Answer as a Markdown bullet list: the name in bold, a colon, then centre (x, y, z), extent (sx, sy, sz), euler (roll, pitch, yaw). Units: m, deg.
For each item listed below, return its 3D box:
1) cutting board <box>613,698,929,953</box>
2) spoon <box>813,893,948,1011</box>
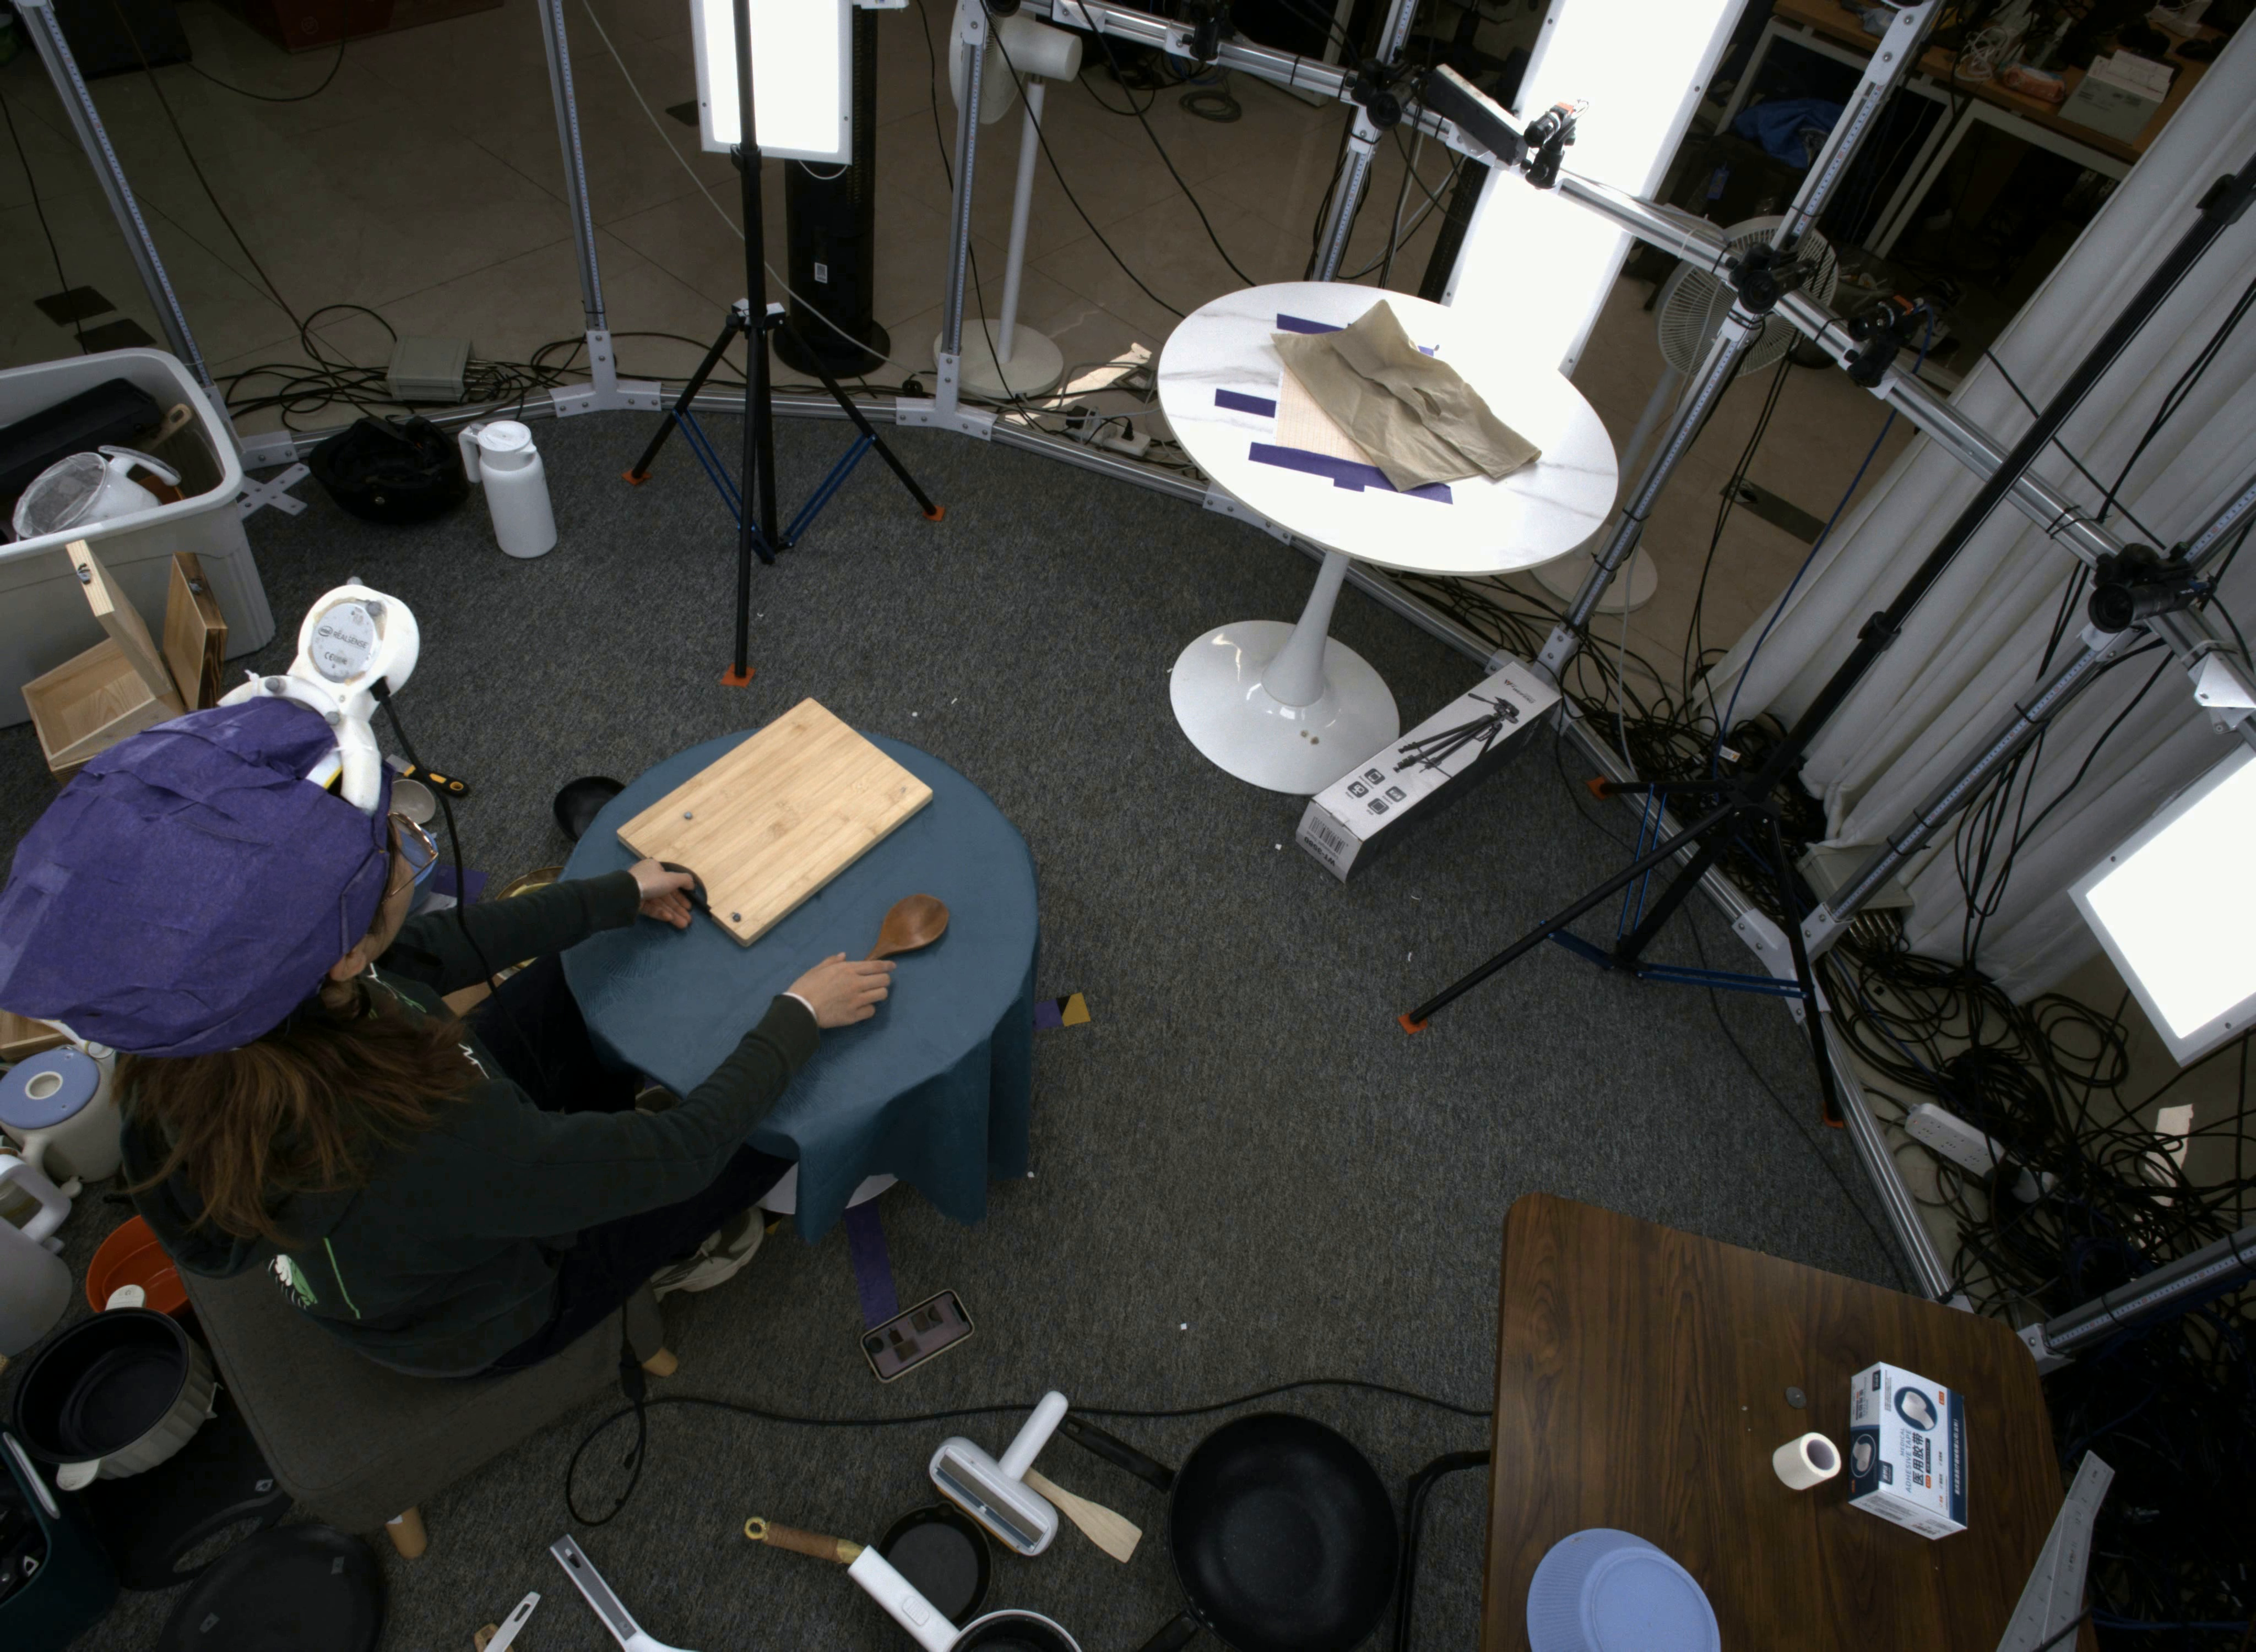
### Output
- **cutting board**: centre (-0.467, -0.012, 1.717), extent (0.246, 0.024, 0.348), euler (35, 53, 13)
- **spoon**: centre (-0.311, 0.156, 1.630), extent (0.074, 0.017, 0.216), euler (39, 54, 13)
